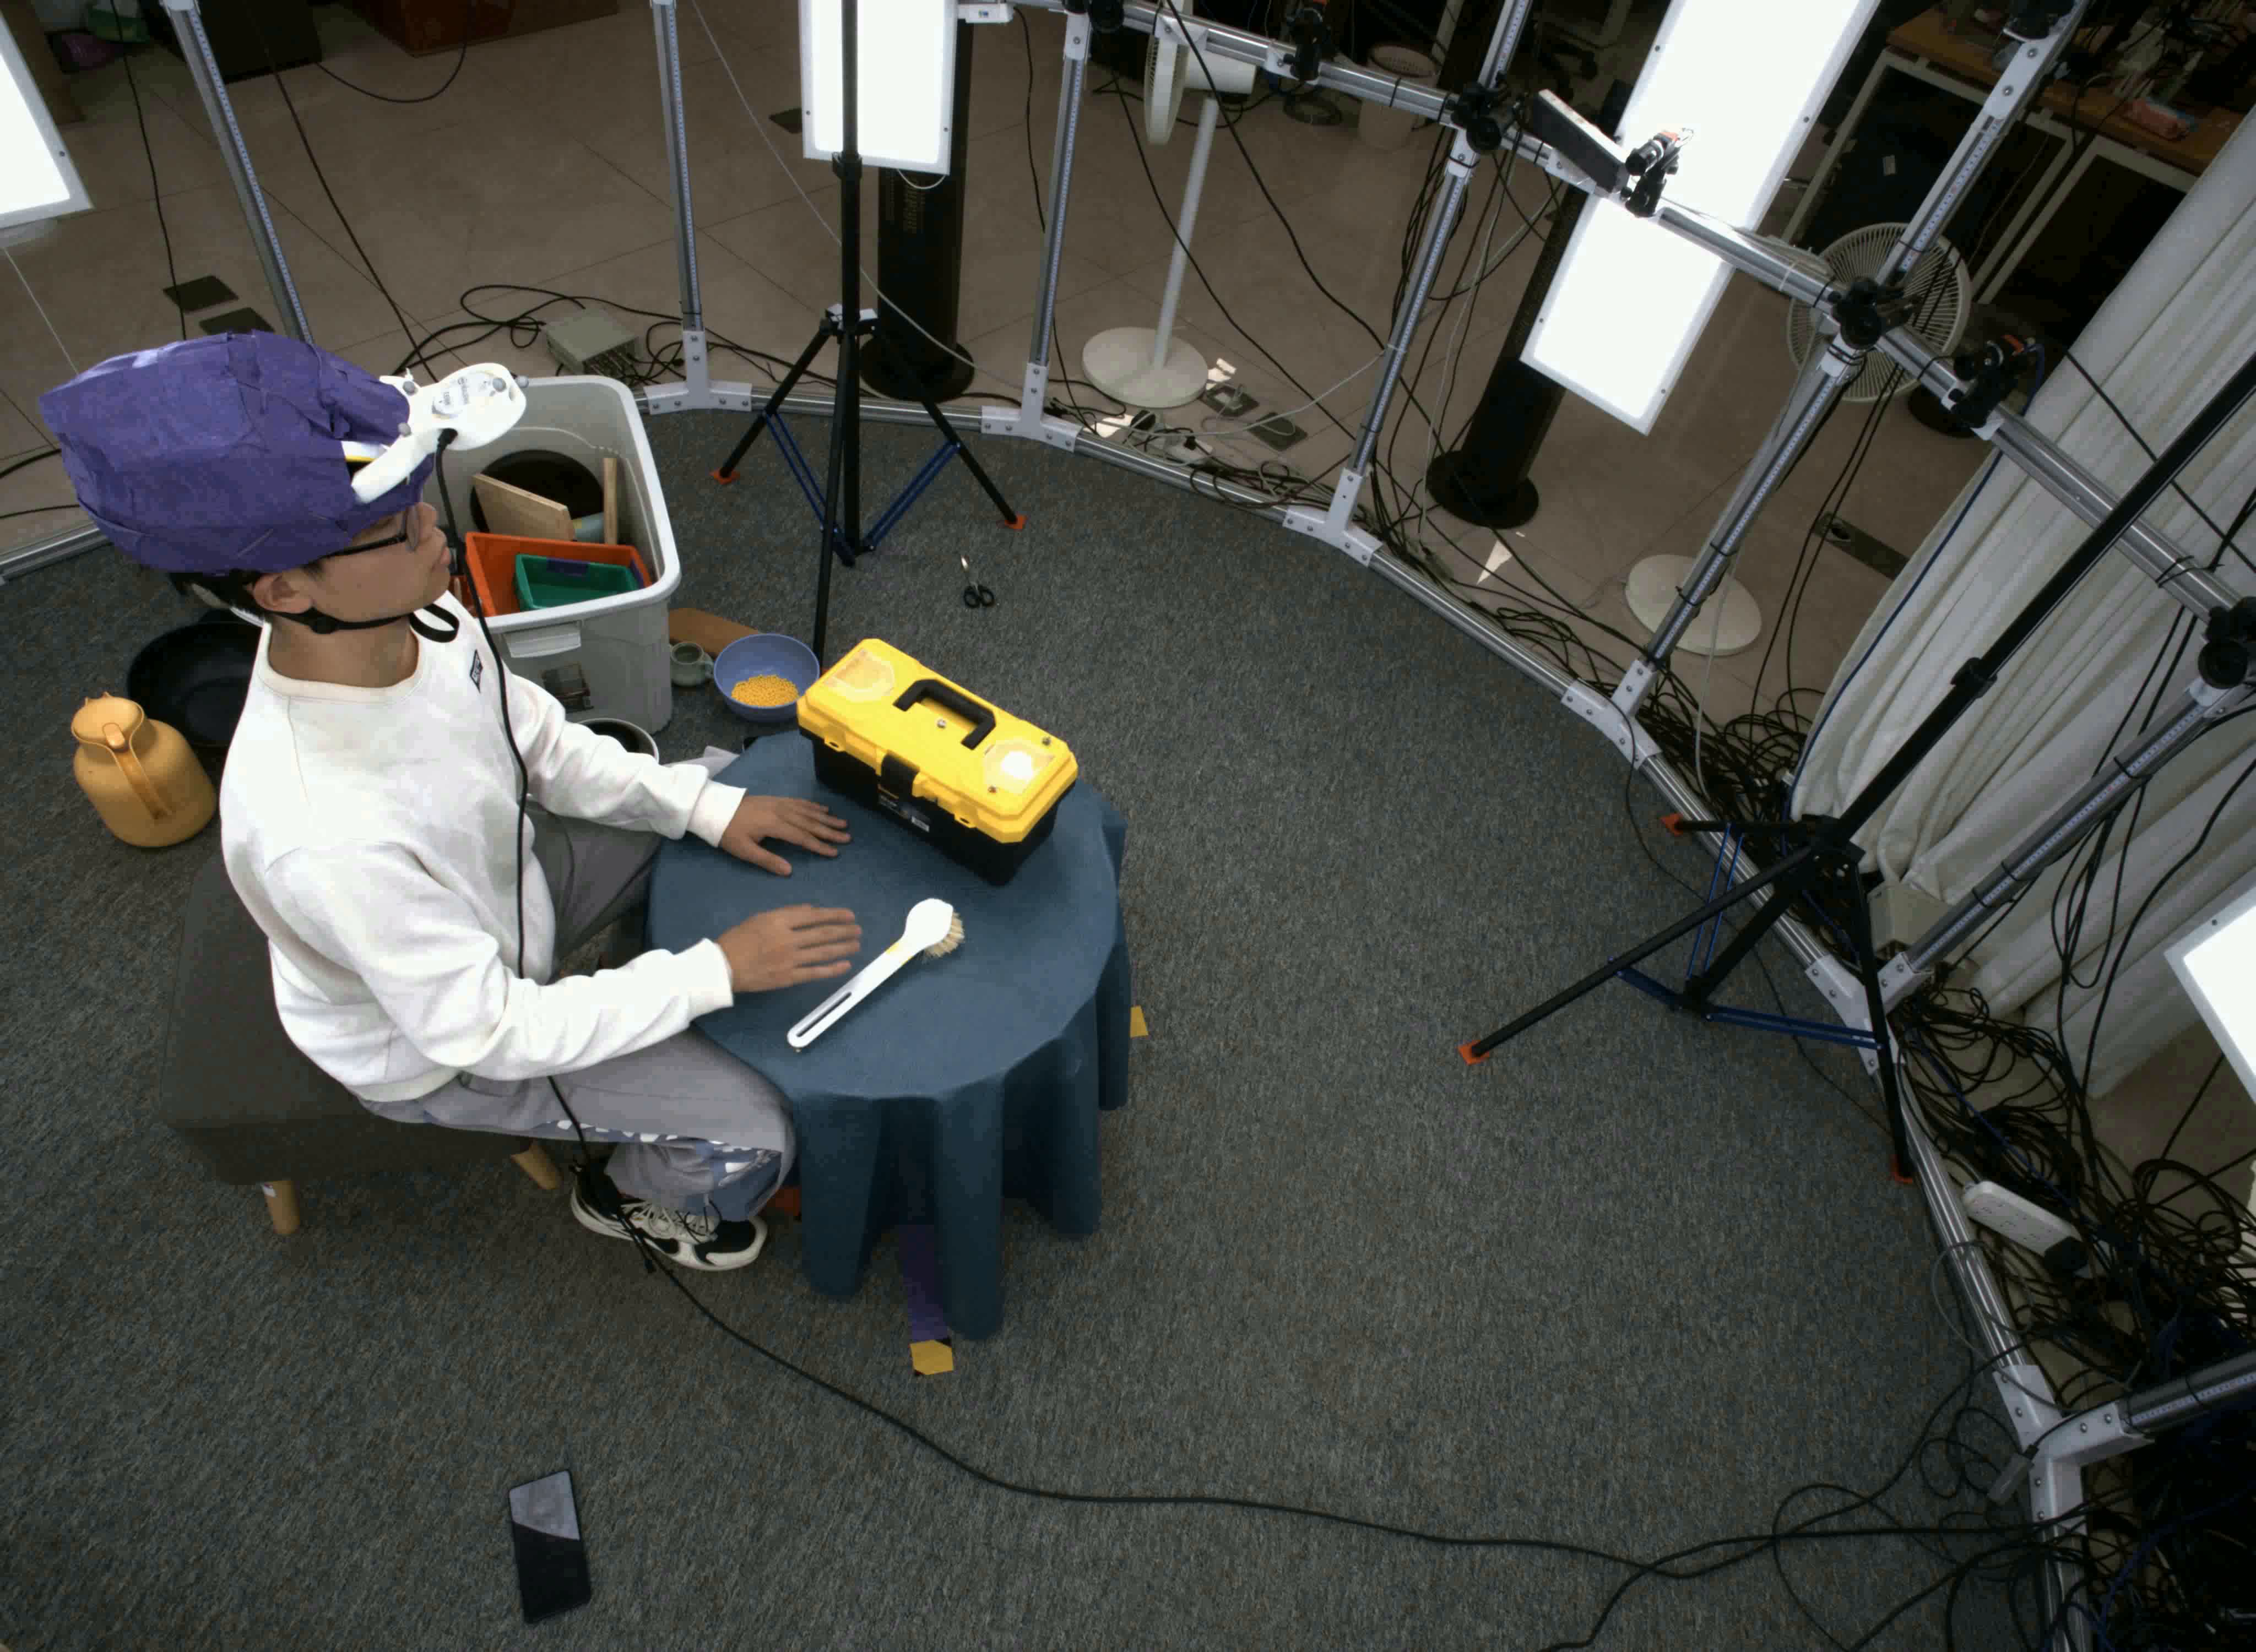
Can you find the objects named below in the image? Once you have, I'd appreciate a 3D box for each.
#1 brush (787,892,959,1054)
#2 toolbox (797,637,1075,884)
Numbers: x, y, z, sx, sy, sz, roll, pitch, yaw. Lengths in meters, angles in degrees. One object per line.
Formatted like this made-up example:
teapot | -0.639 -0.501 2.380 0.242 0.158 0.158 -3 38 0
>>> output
brush | -0.314 0.189 1.613 0.066 0.058 0.266 28 66 37
toolbox | -0.257 -0.084 1.725 0.345 0.176 0.181 29 52 11
